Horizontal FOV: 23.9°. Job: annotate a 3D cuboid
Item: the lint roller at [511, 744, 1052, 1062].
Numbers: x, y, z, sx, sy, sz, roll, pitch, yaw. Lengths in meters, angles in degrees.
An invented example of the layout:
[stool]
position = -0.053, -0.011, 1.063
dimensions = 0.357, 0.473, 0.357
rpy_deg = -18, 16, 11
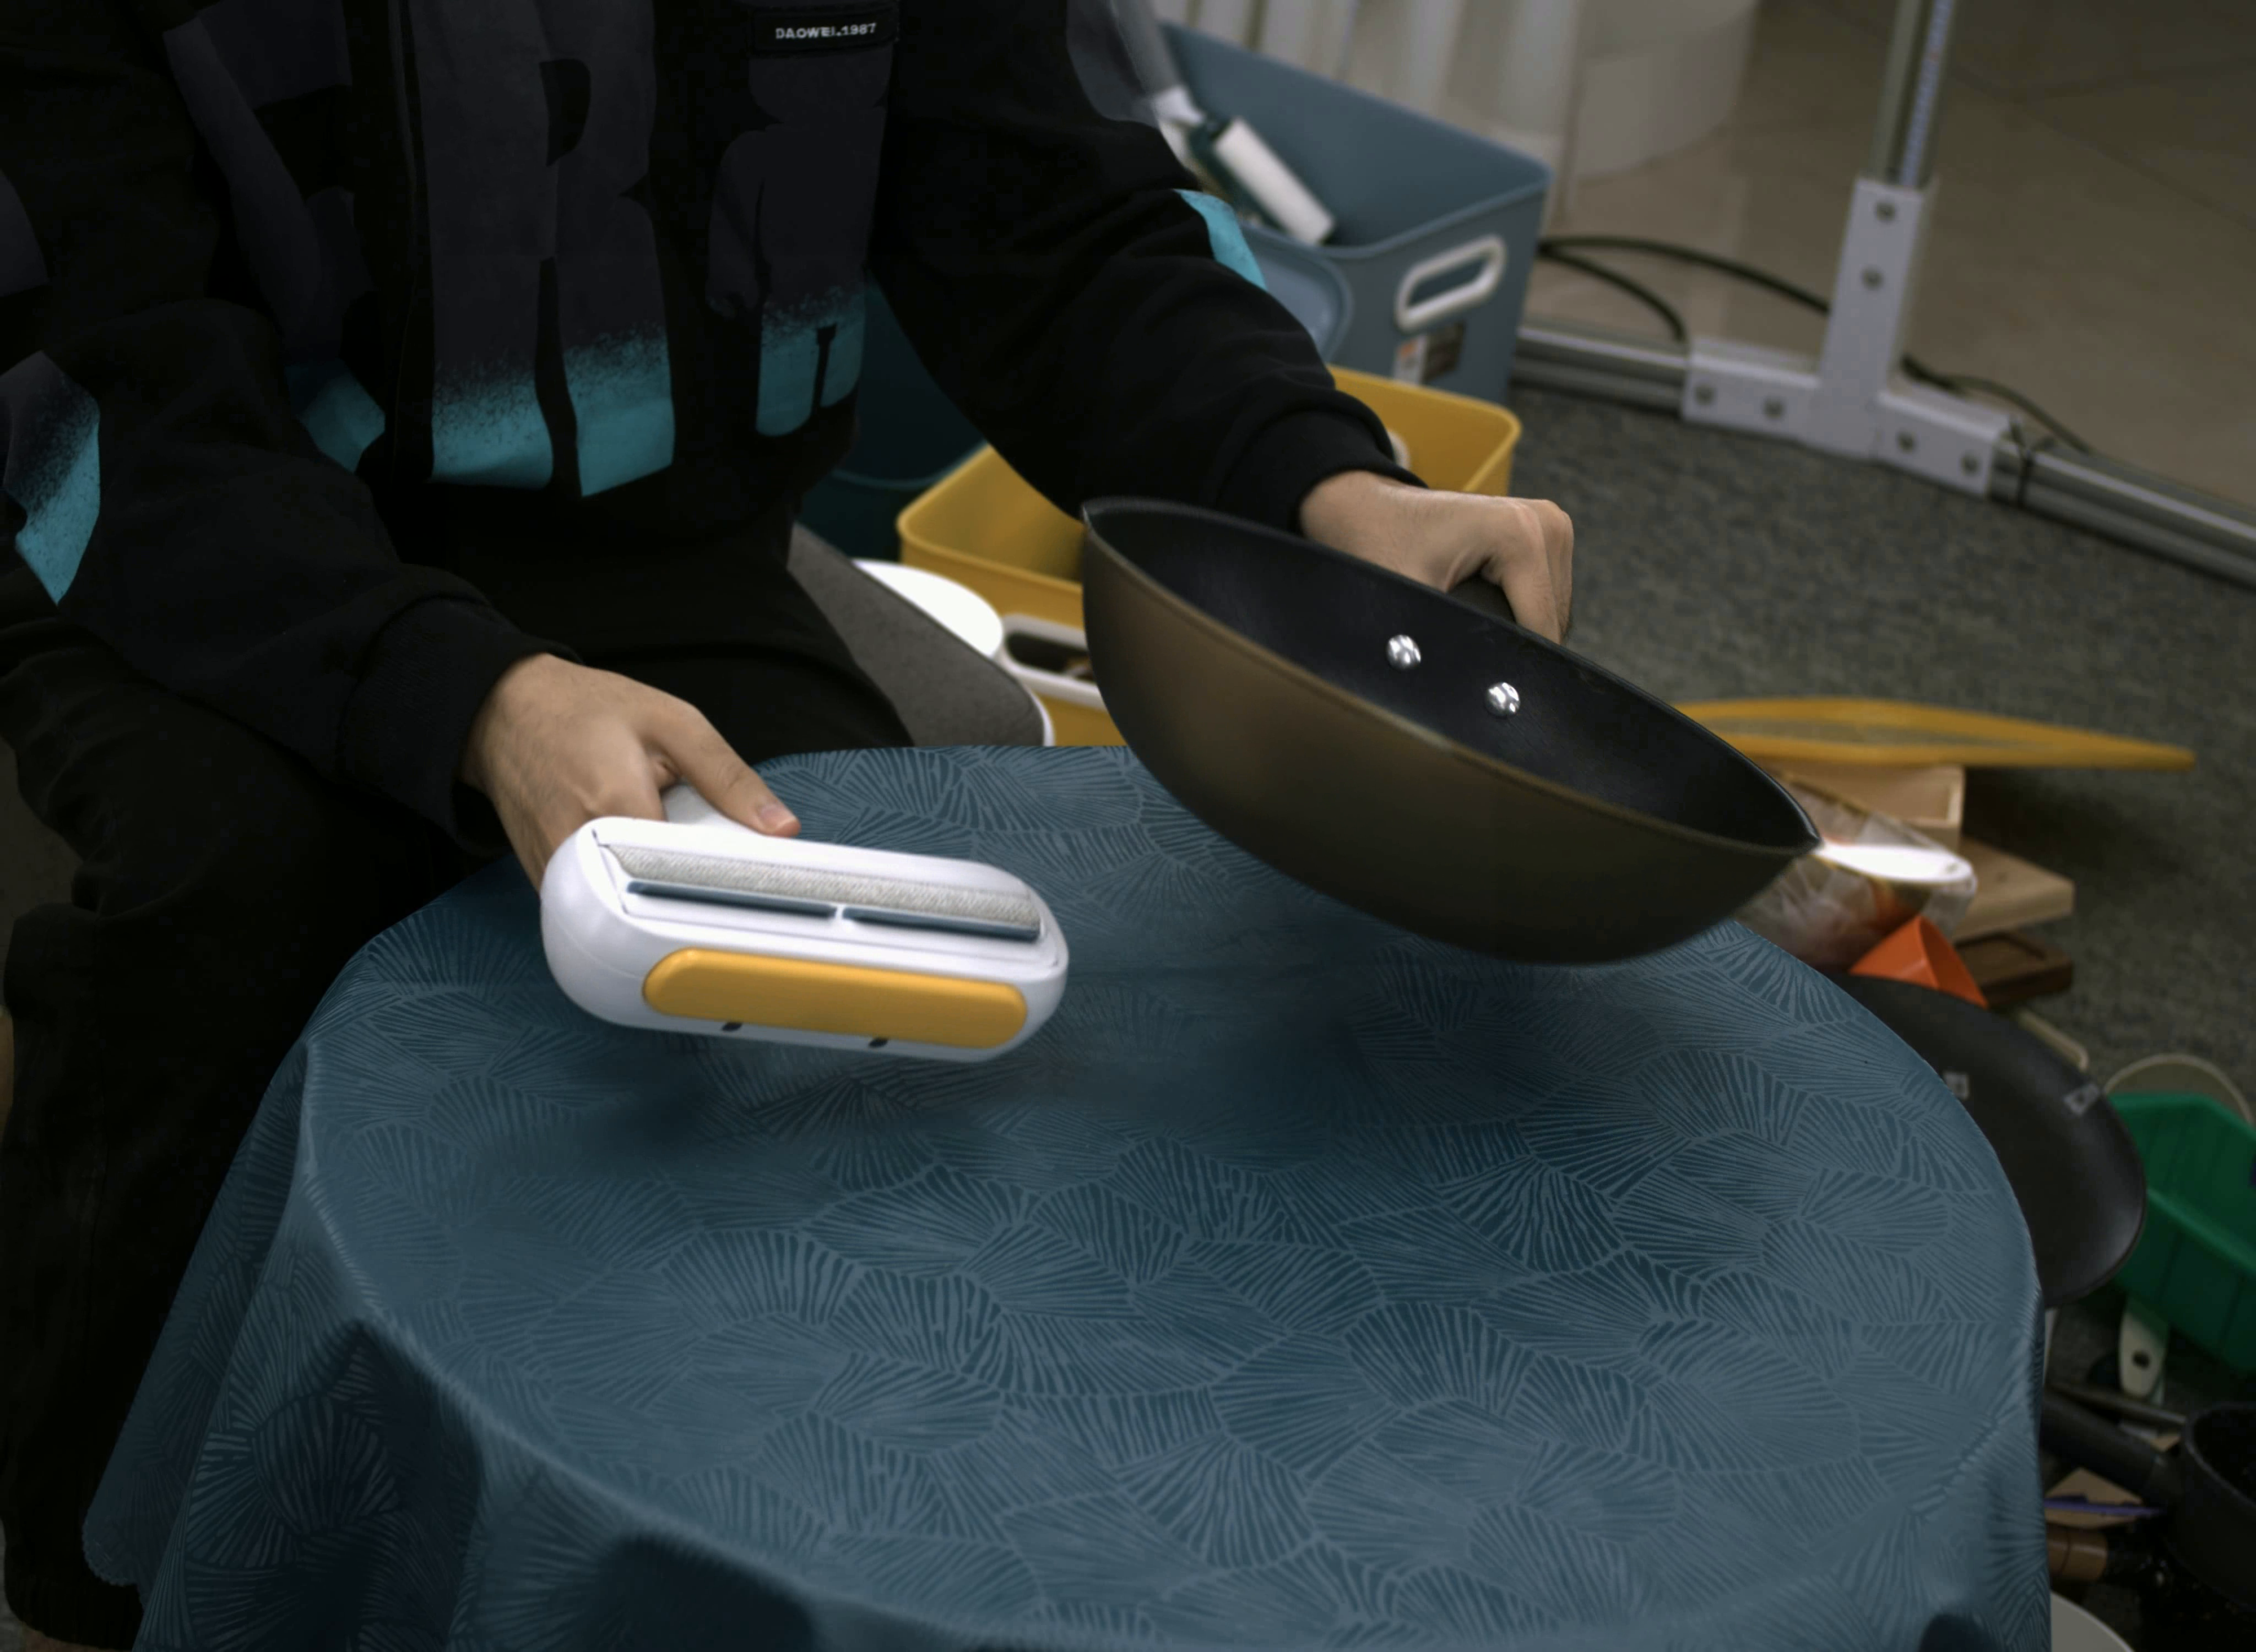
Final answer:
[lint roller]
position = -0.138, 0.012, 1.847
dimensions = 0.191, 0.074, 0.194
rpy_deg = 5, 30, -27

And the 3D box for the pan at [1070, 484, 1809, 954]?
[pan]
position = 0.109, -0.041, 1.977
dimensions = 0.288, 0.087, 0.463
rpy_deg = 25, 11, 4
